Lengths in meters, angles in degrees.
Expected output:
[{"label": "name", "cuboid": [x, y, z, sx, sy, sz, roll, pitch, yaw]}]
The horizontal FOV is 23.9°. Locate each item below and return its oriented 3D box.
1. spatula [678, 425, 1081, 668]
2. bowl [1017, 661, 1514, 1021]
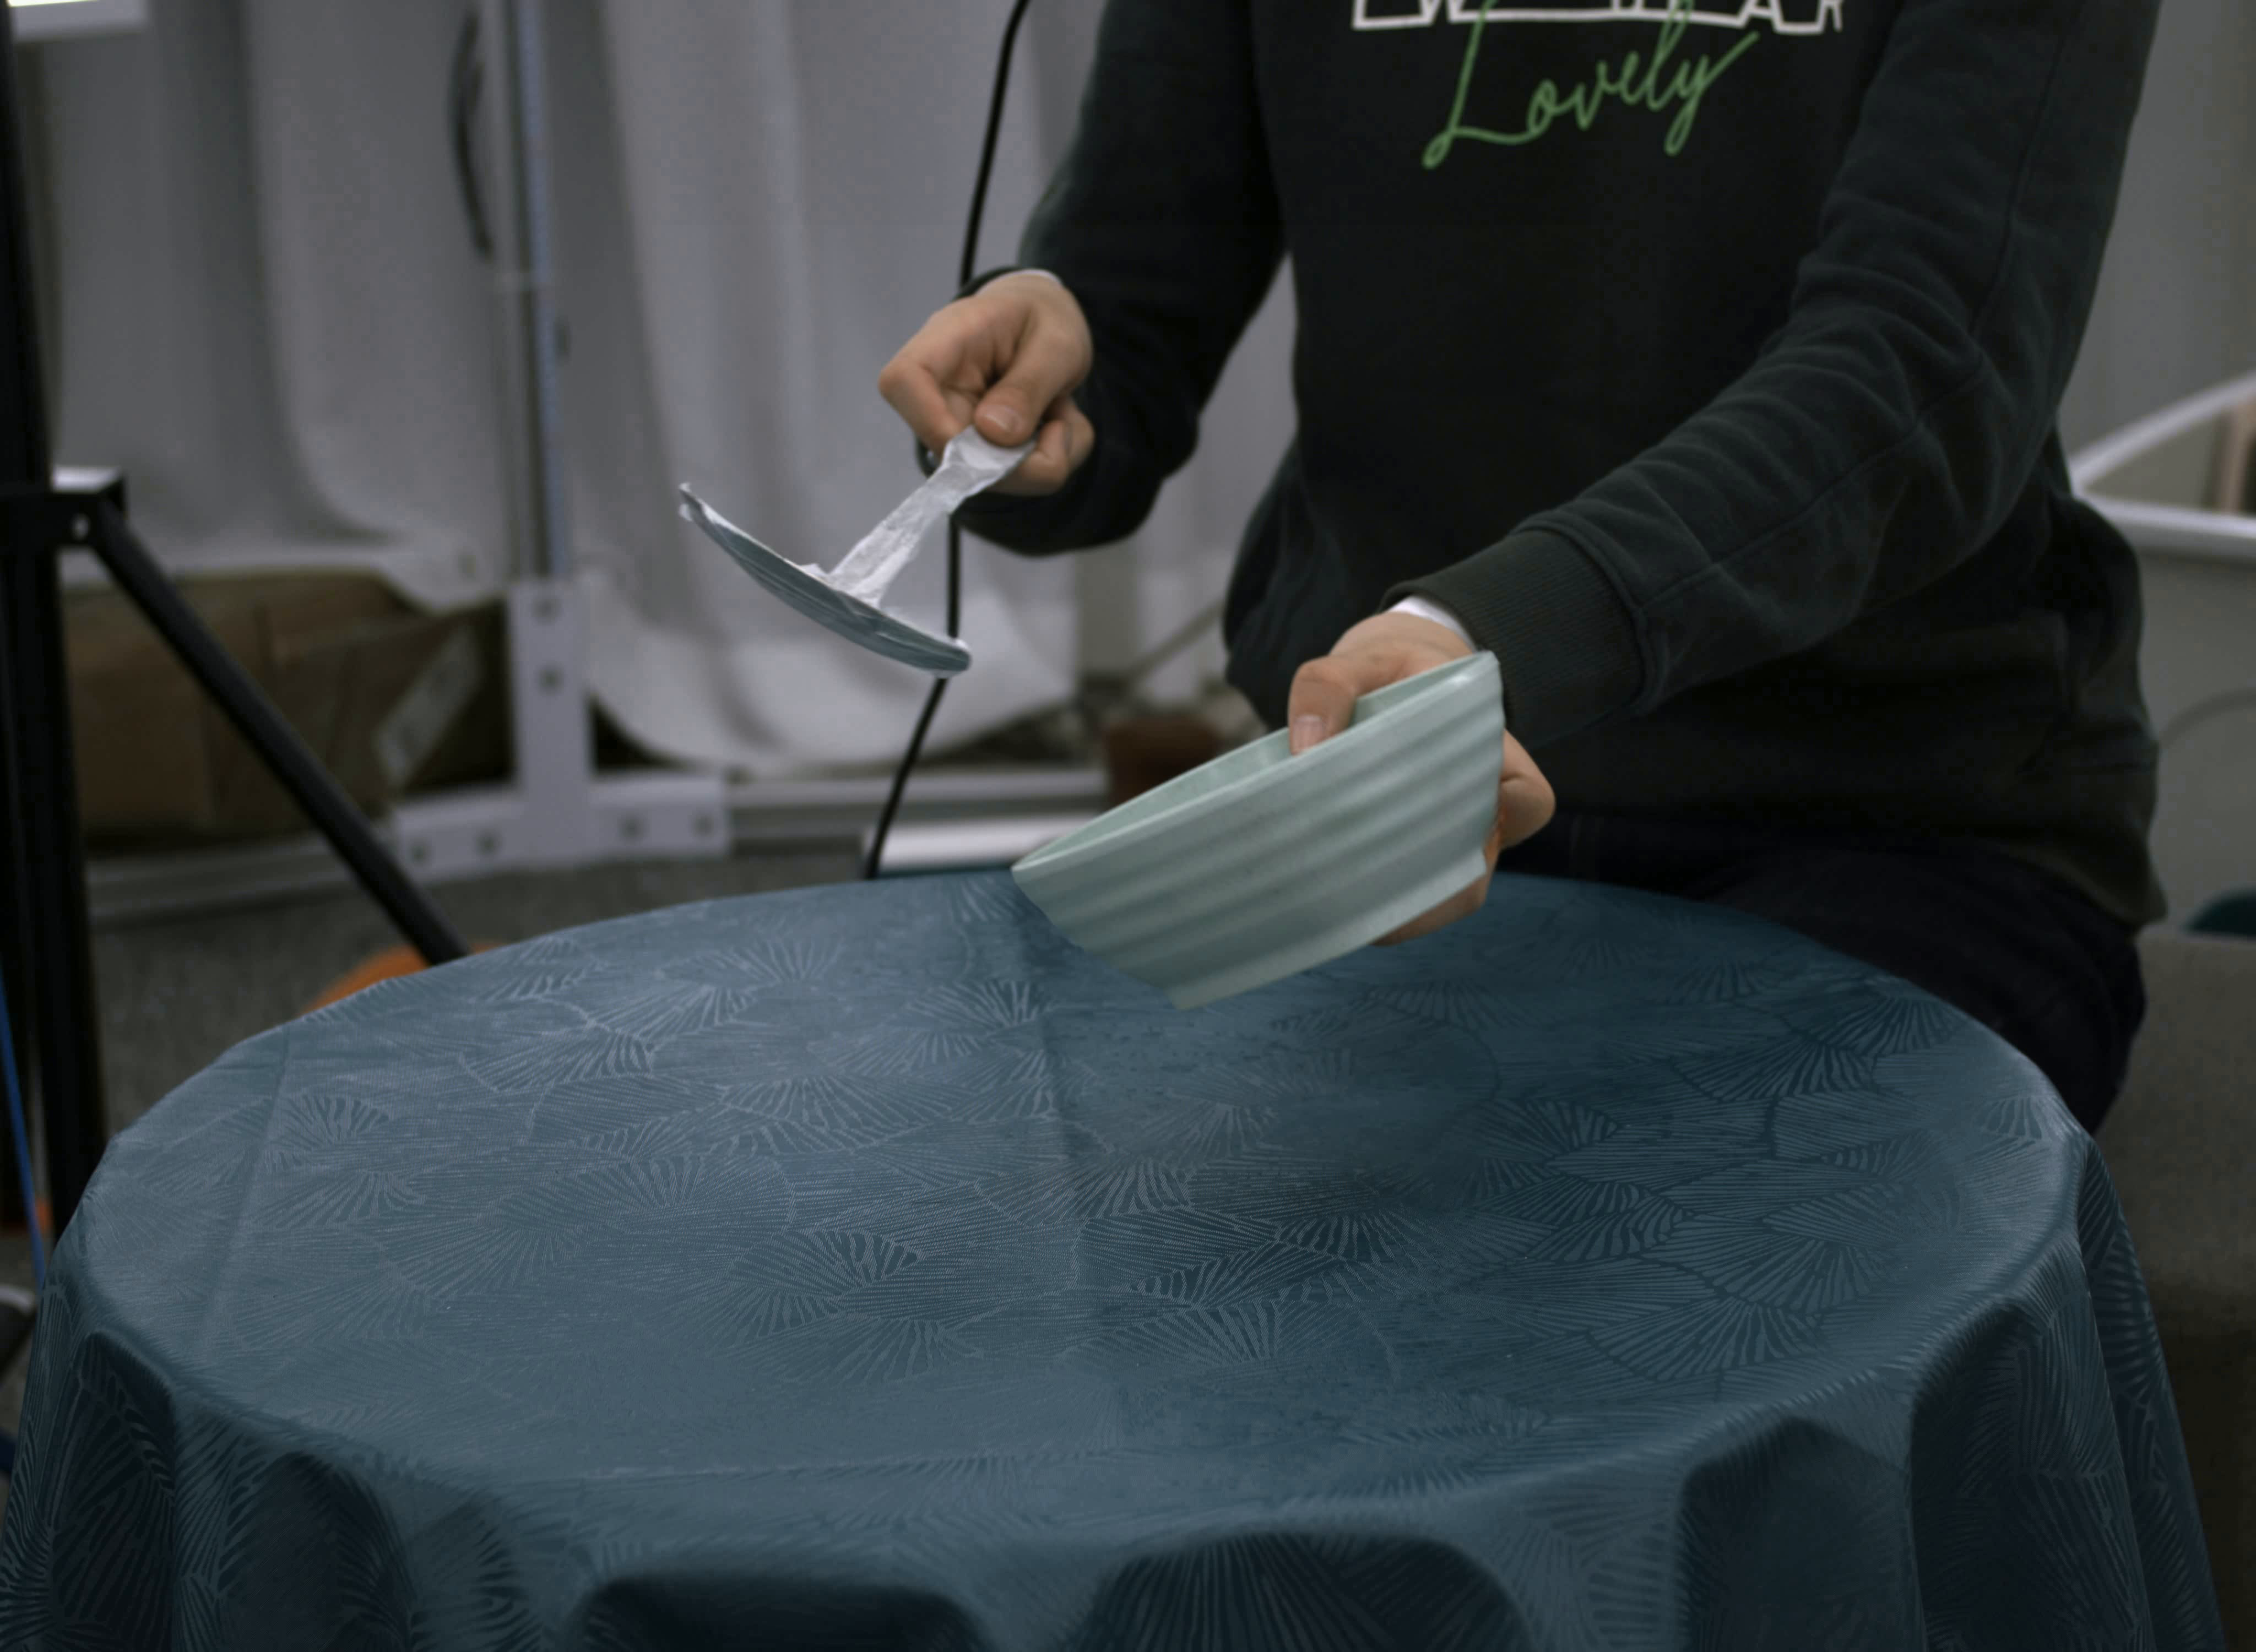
[{"label": "spatula", "cuboid": [-0.059, -0.103, 1.690, 0.099, 0.045, 0.362, 28, 19, 5]}, {"label": "bowl", "cuboid": [0.048, 0.010, 1.507, 0.151, 0.058, 0.152, -24, 5, 1]}]
